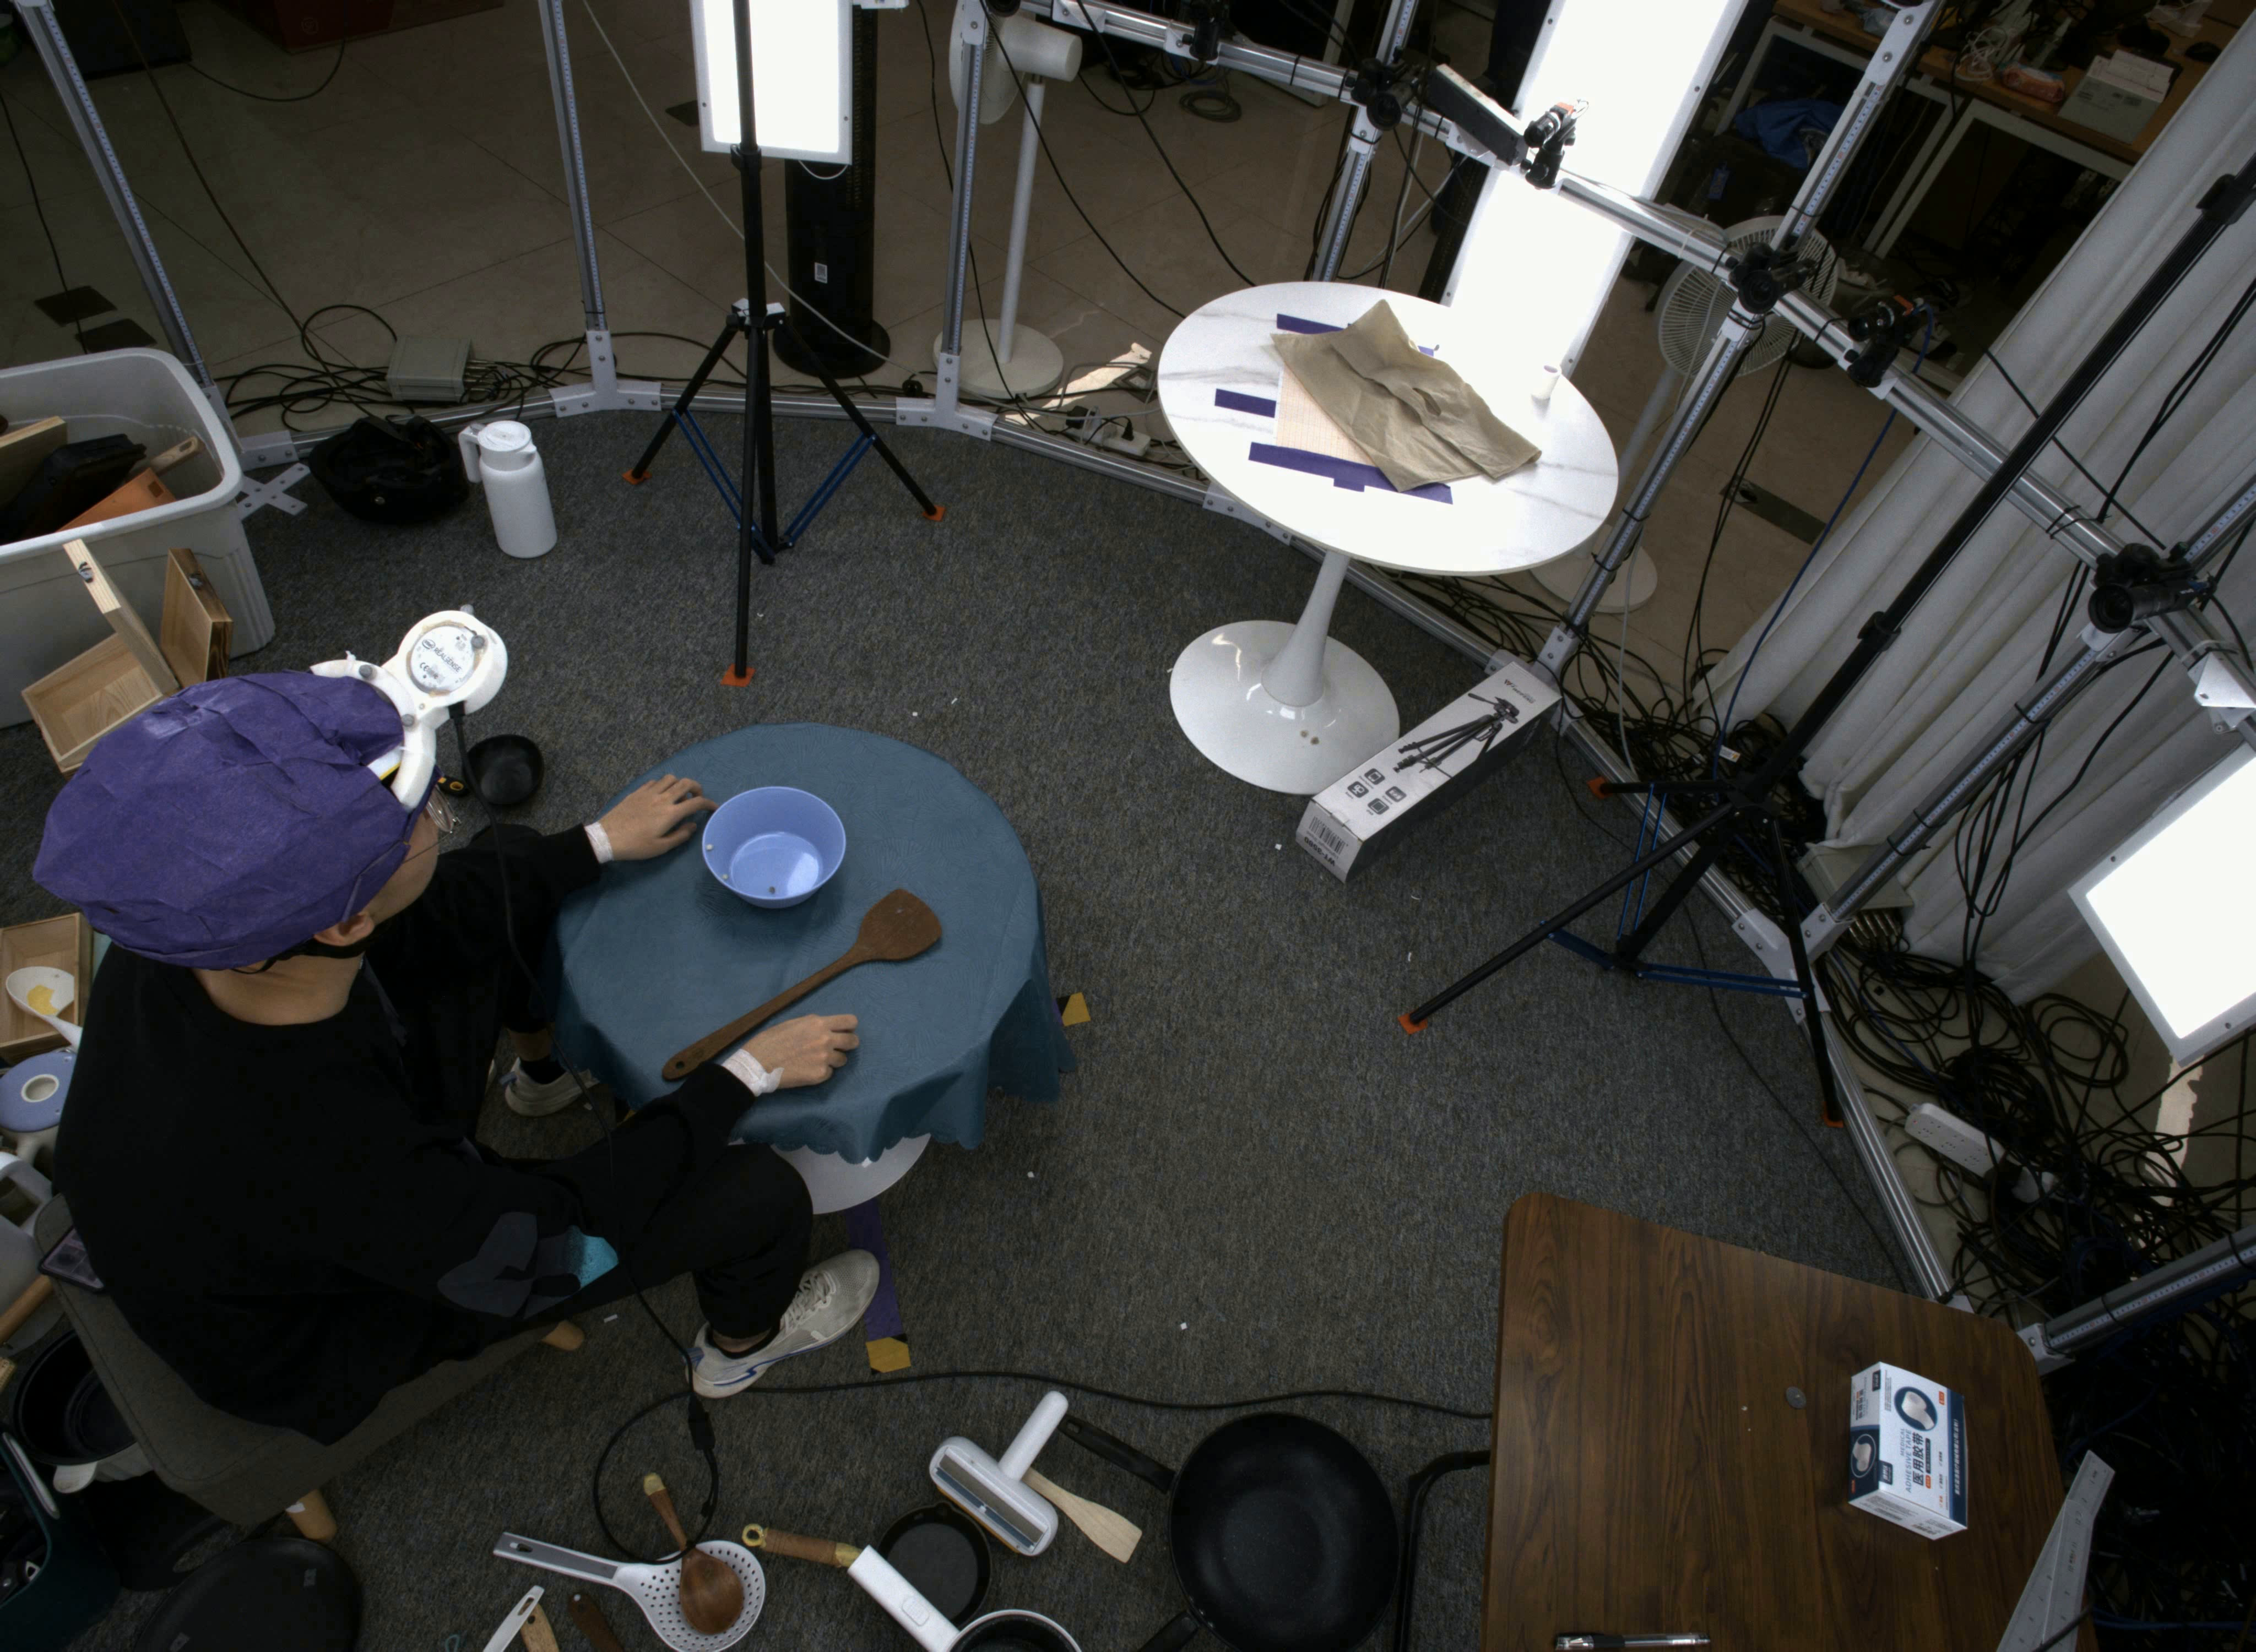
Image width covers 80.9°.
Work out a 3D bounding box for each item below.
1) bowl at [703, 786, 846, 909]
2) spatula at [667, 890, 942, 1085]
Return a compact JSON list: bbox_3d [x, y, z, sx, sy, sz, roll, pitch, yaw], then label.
[{"bbox_3d":[-0.447,0.037,1.651,0.175,0.072,0.173,7,53,-7],"label":"bowl"},{"bbox_3d":[-0.394,0.197,1.581,0.387,0.016,0.094,-34,67,-32],"label":"spatula"}]
